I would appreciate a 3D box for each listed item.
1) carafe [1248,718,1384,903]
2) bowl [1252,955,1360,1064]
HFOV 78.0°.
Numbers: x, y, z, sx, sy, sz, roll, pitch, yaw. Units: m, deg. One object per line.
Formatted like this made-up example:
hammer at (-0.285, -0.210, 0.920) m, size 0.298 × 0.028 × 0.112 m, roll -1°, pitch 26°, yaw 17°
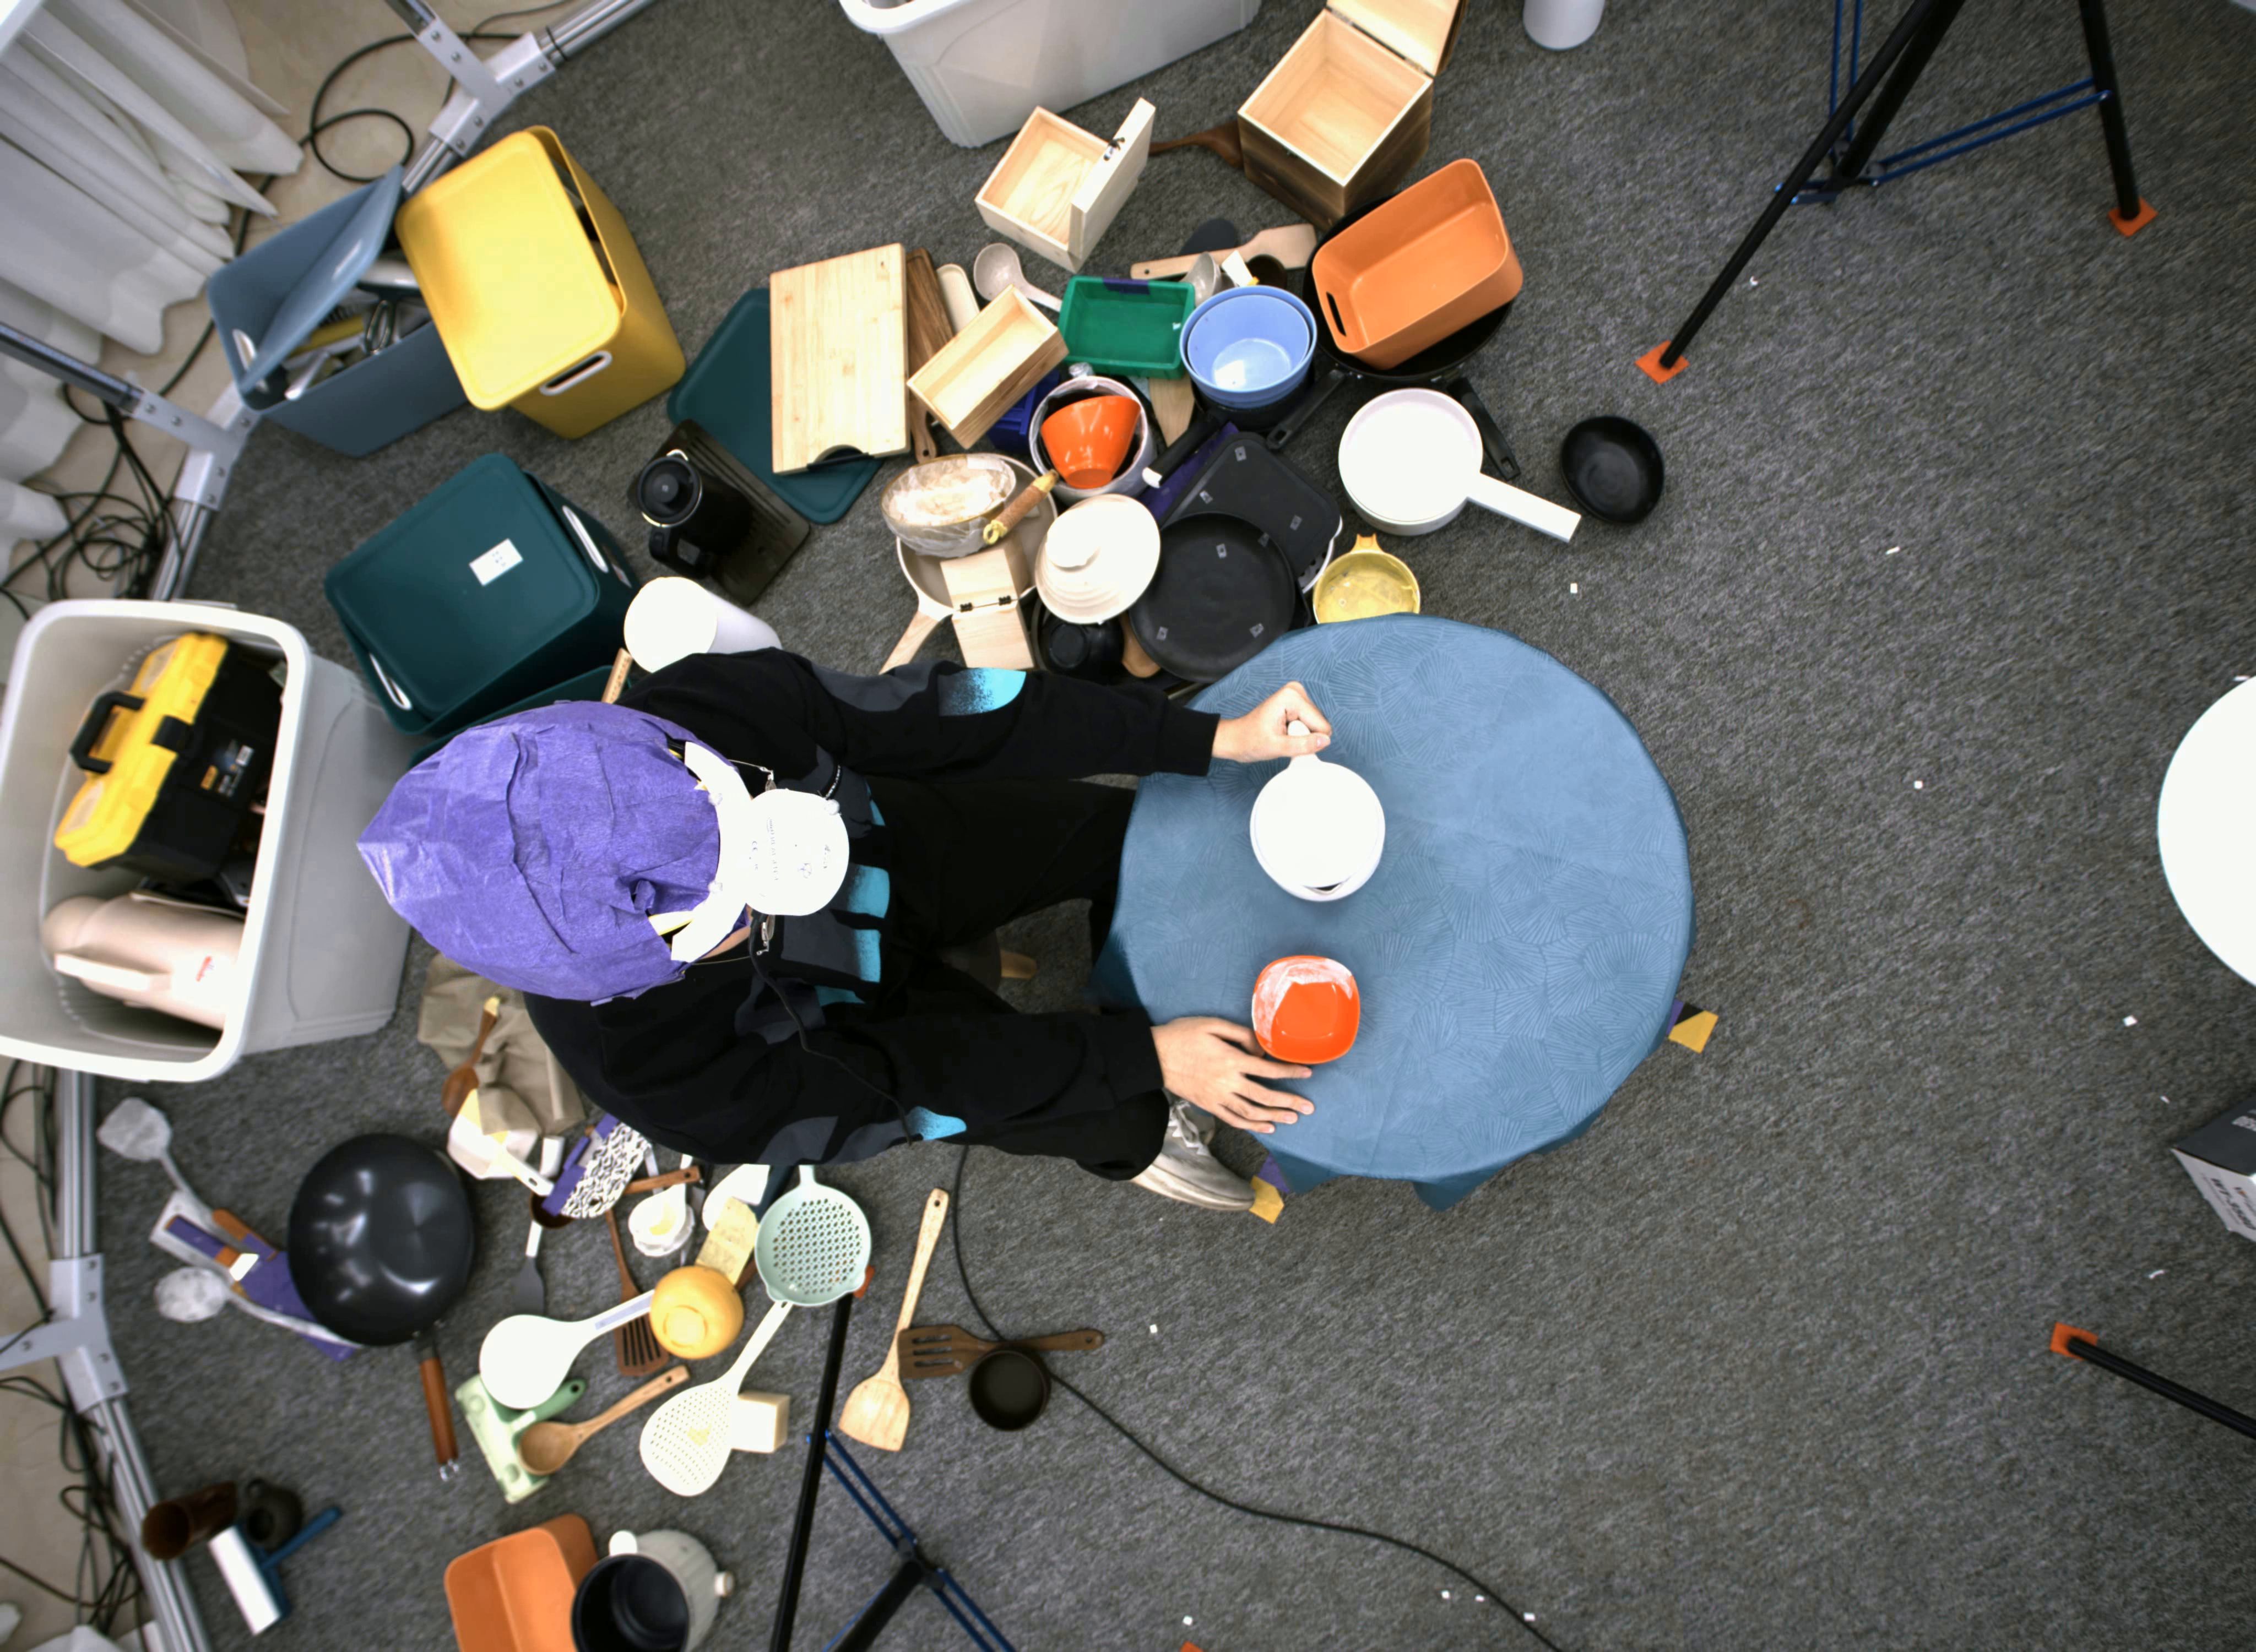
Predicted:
carafe at (0.184, -0.017, 1.389) m, size 0.133 × 0.183 × 0.189 m, roll -13°, pitch 82°, yaw 7°
bowl at (0.184, 0.188, 1.438) m, size 0.119 × 0.051 × 0.118 m, roll 0°, pitch 89°, yaw 7°
